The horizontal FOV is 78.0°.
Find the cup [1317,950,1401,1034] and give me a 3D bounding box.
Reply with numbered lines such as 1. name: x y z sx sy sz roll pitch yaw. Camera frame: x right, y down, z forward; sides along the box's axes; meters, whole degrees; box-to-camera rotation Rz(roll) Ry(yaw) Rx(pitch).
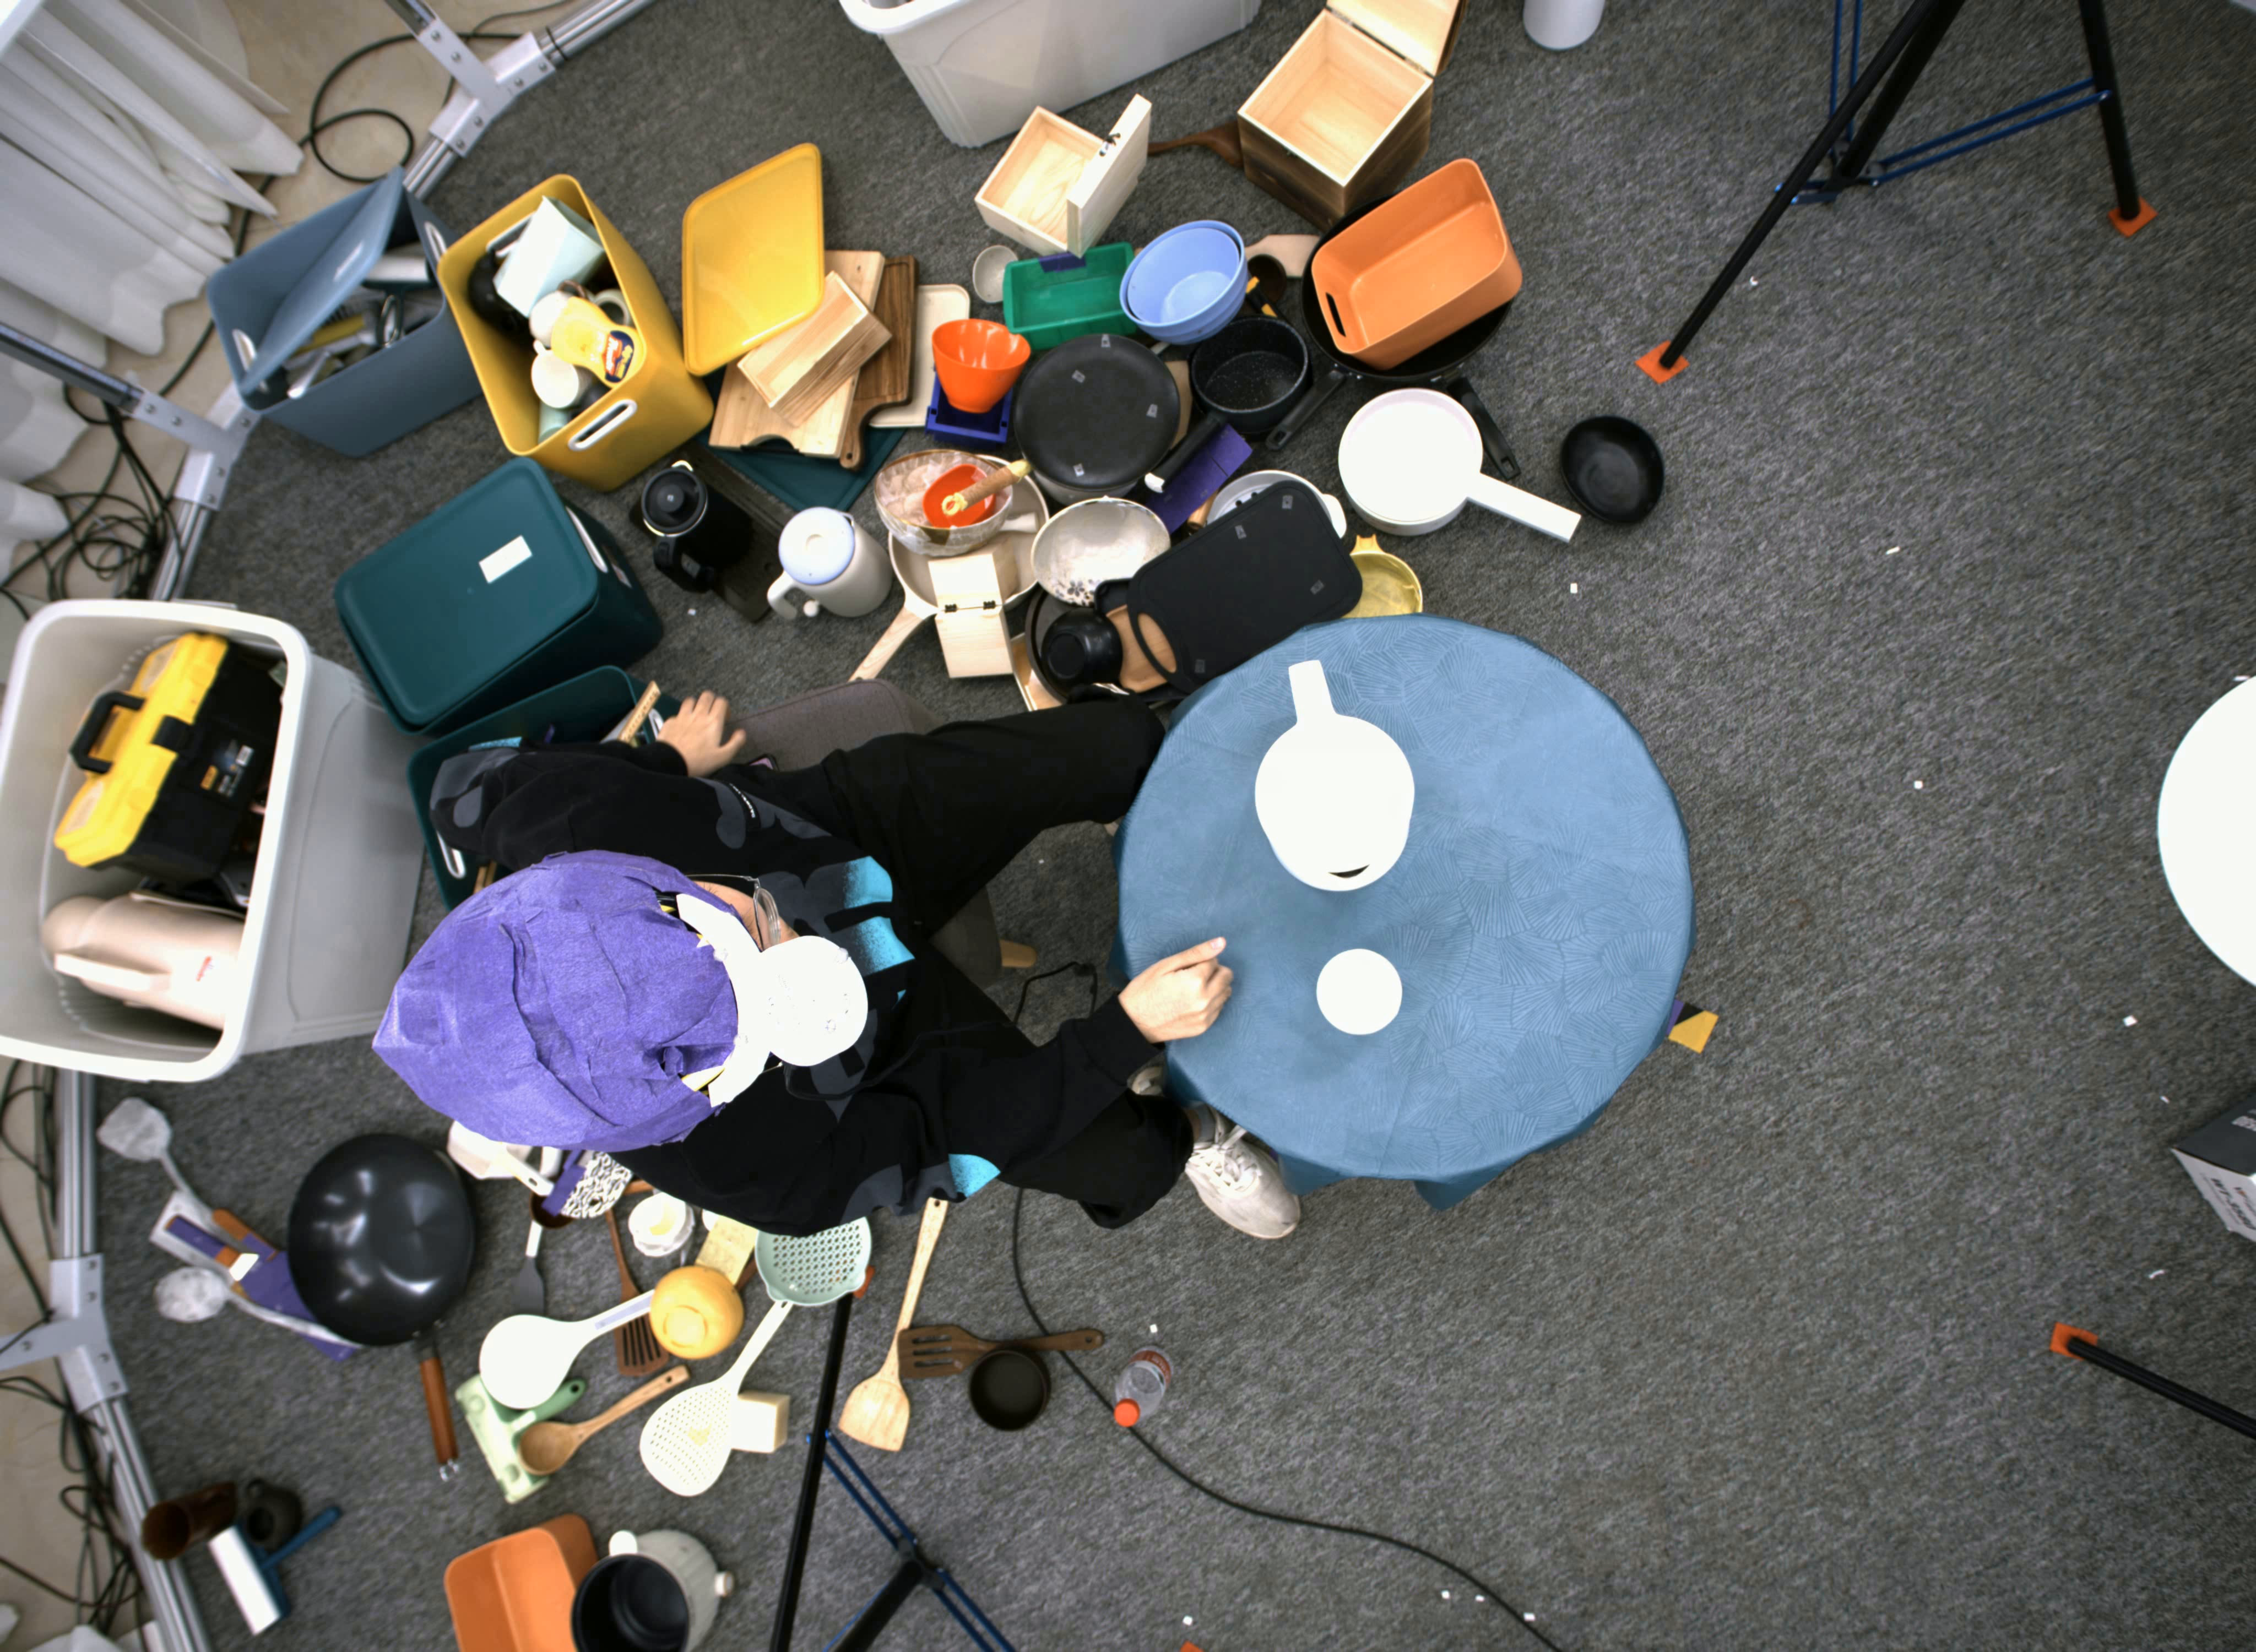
1. cup: 0.233 0.165 1.394 0.082 0.125 0.081 -1 85 10

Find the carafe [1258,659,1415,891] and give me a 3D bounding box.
1. carafe: 0.201 -0.045 1.356 0.153 0.240 0.212 -11 84 7
